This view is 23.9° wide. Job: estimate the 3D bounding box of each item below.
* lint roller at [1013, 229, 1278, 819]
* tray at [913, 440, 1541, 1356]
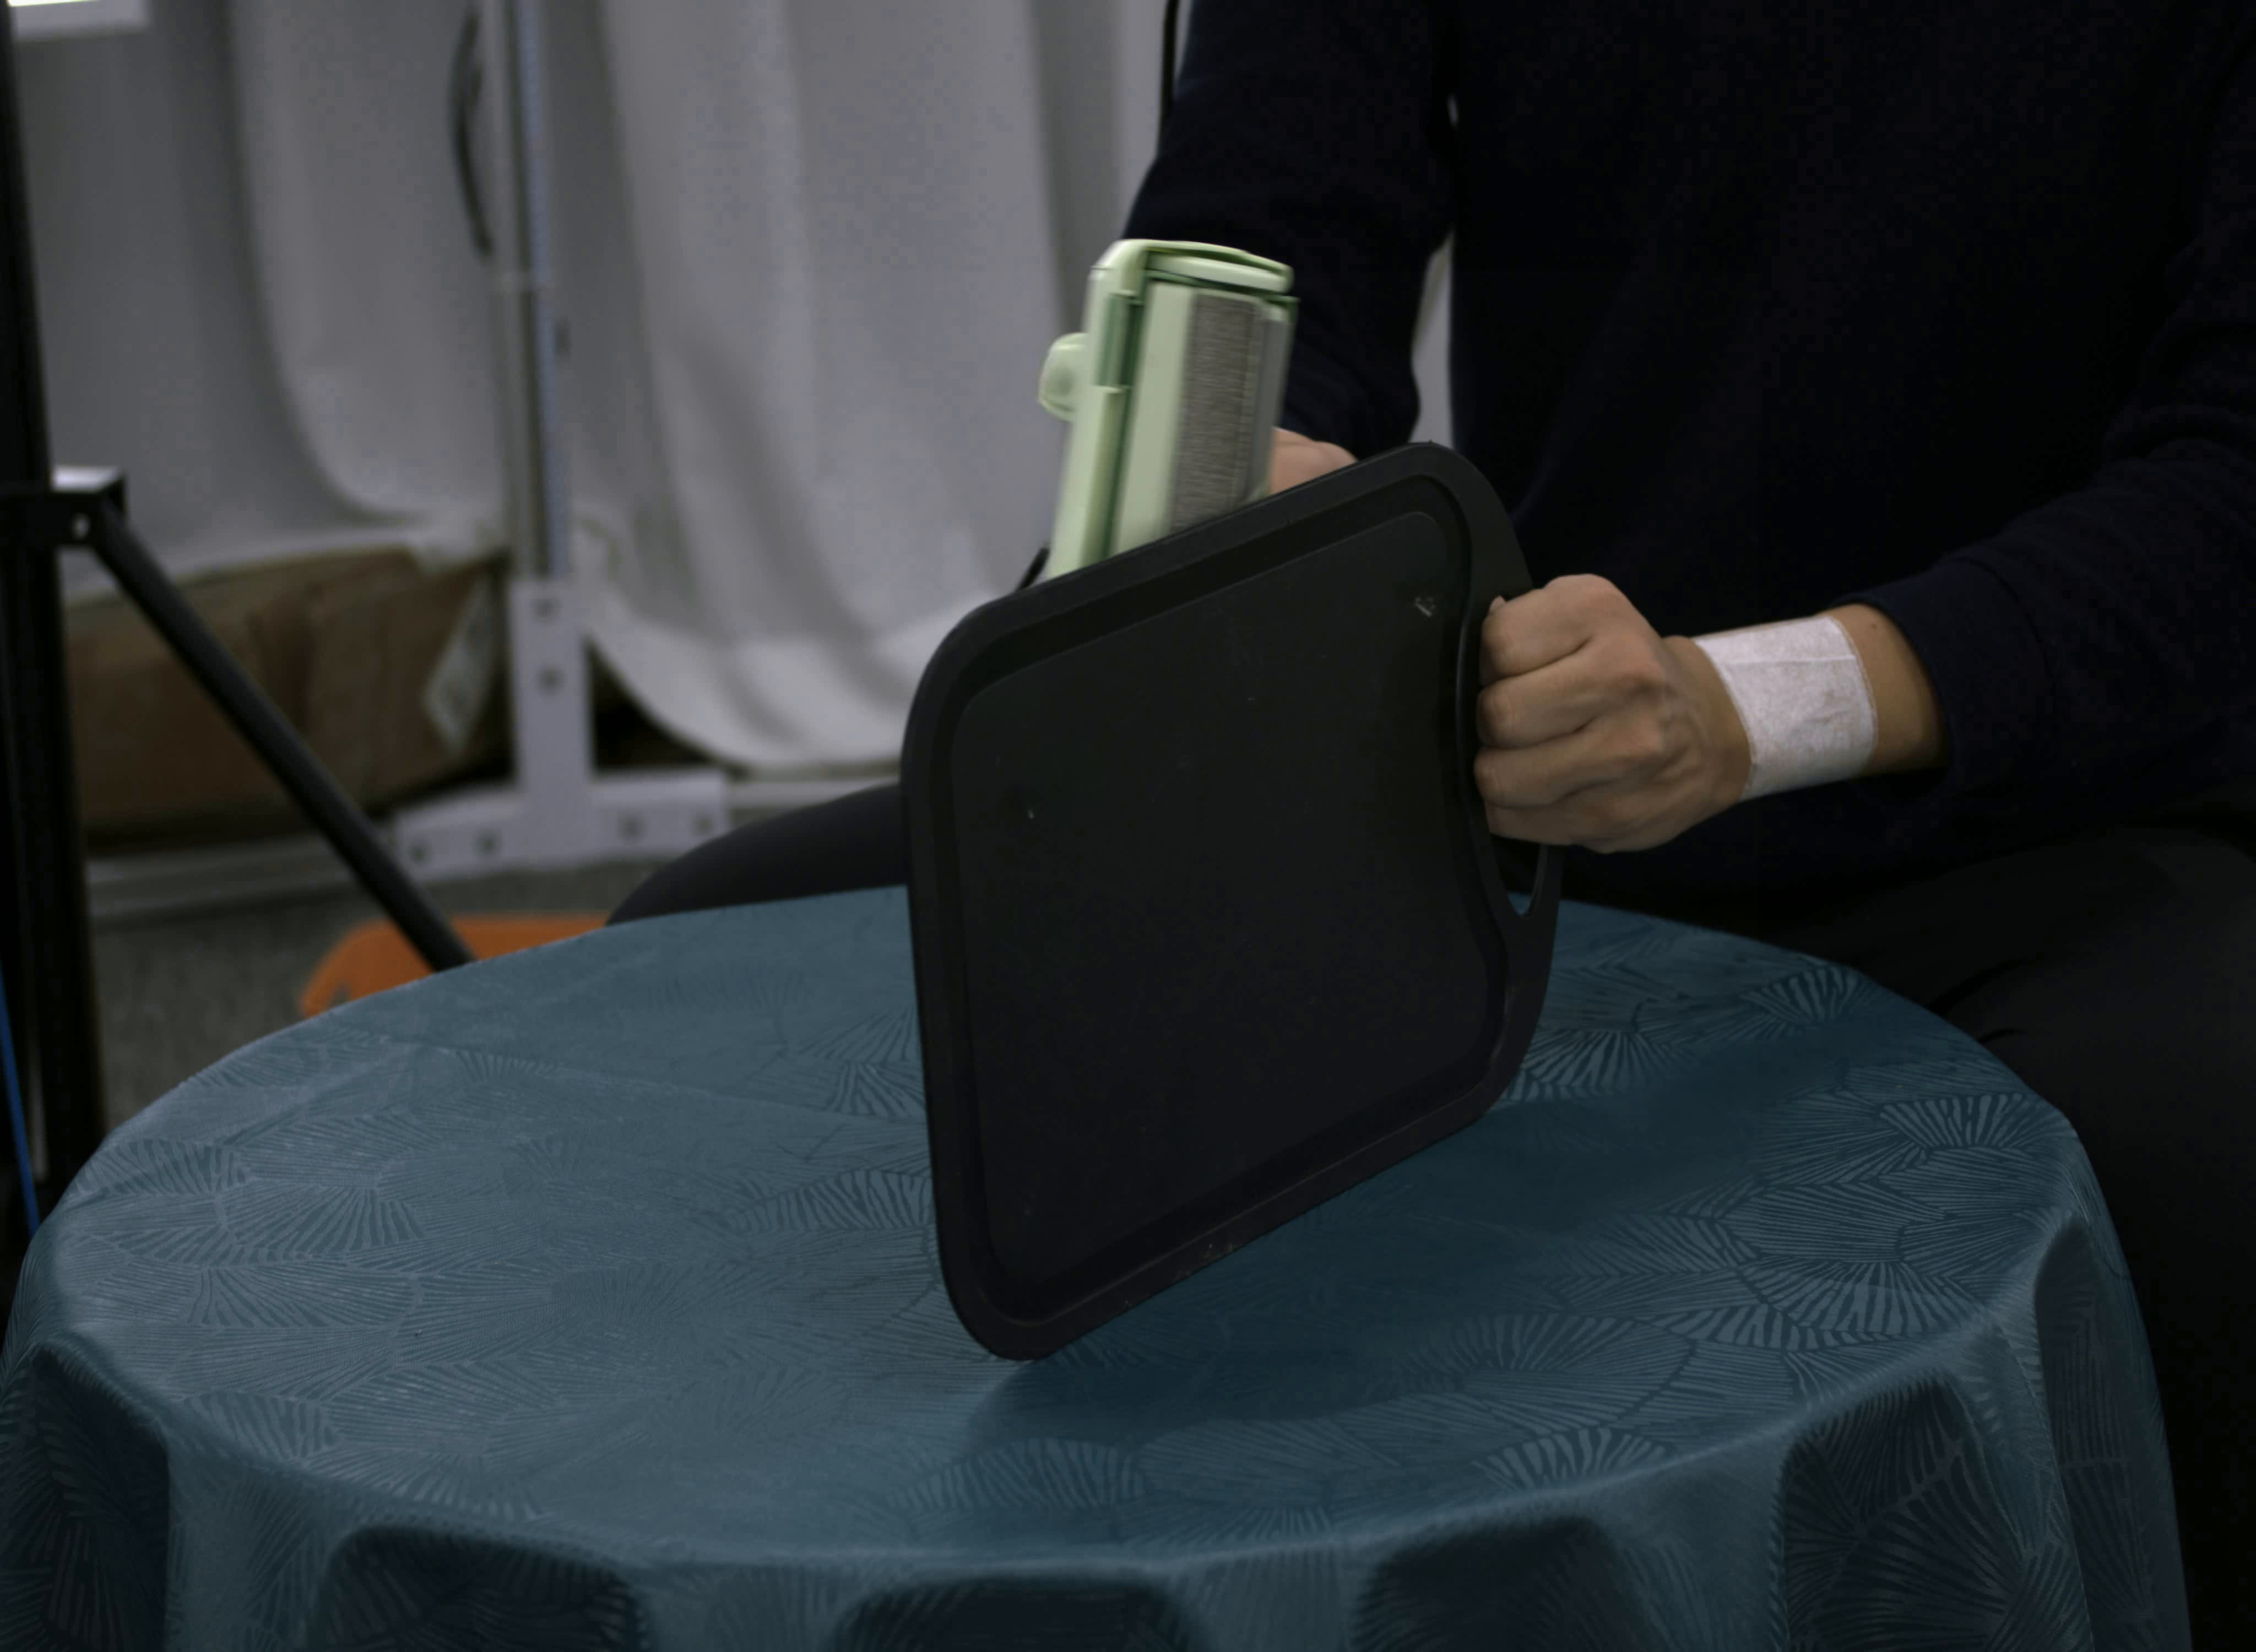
[{"bbox_3d":[0.009,-0.067,1.547,0.083,0.199,0.181,9,2,16],"label":"lint roller"},{"bbox_3d":[0.038,0.012,1.503,0.010,0.211,0.319,5,16,34],"label":"tray"}]
